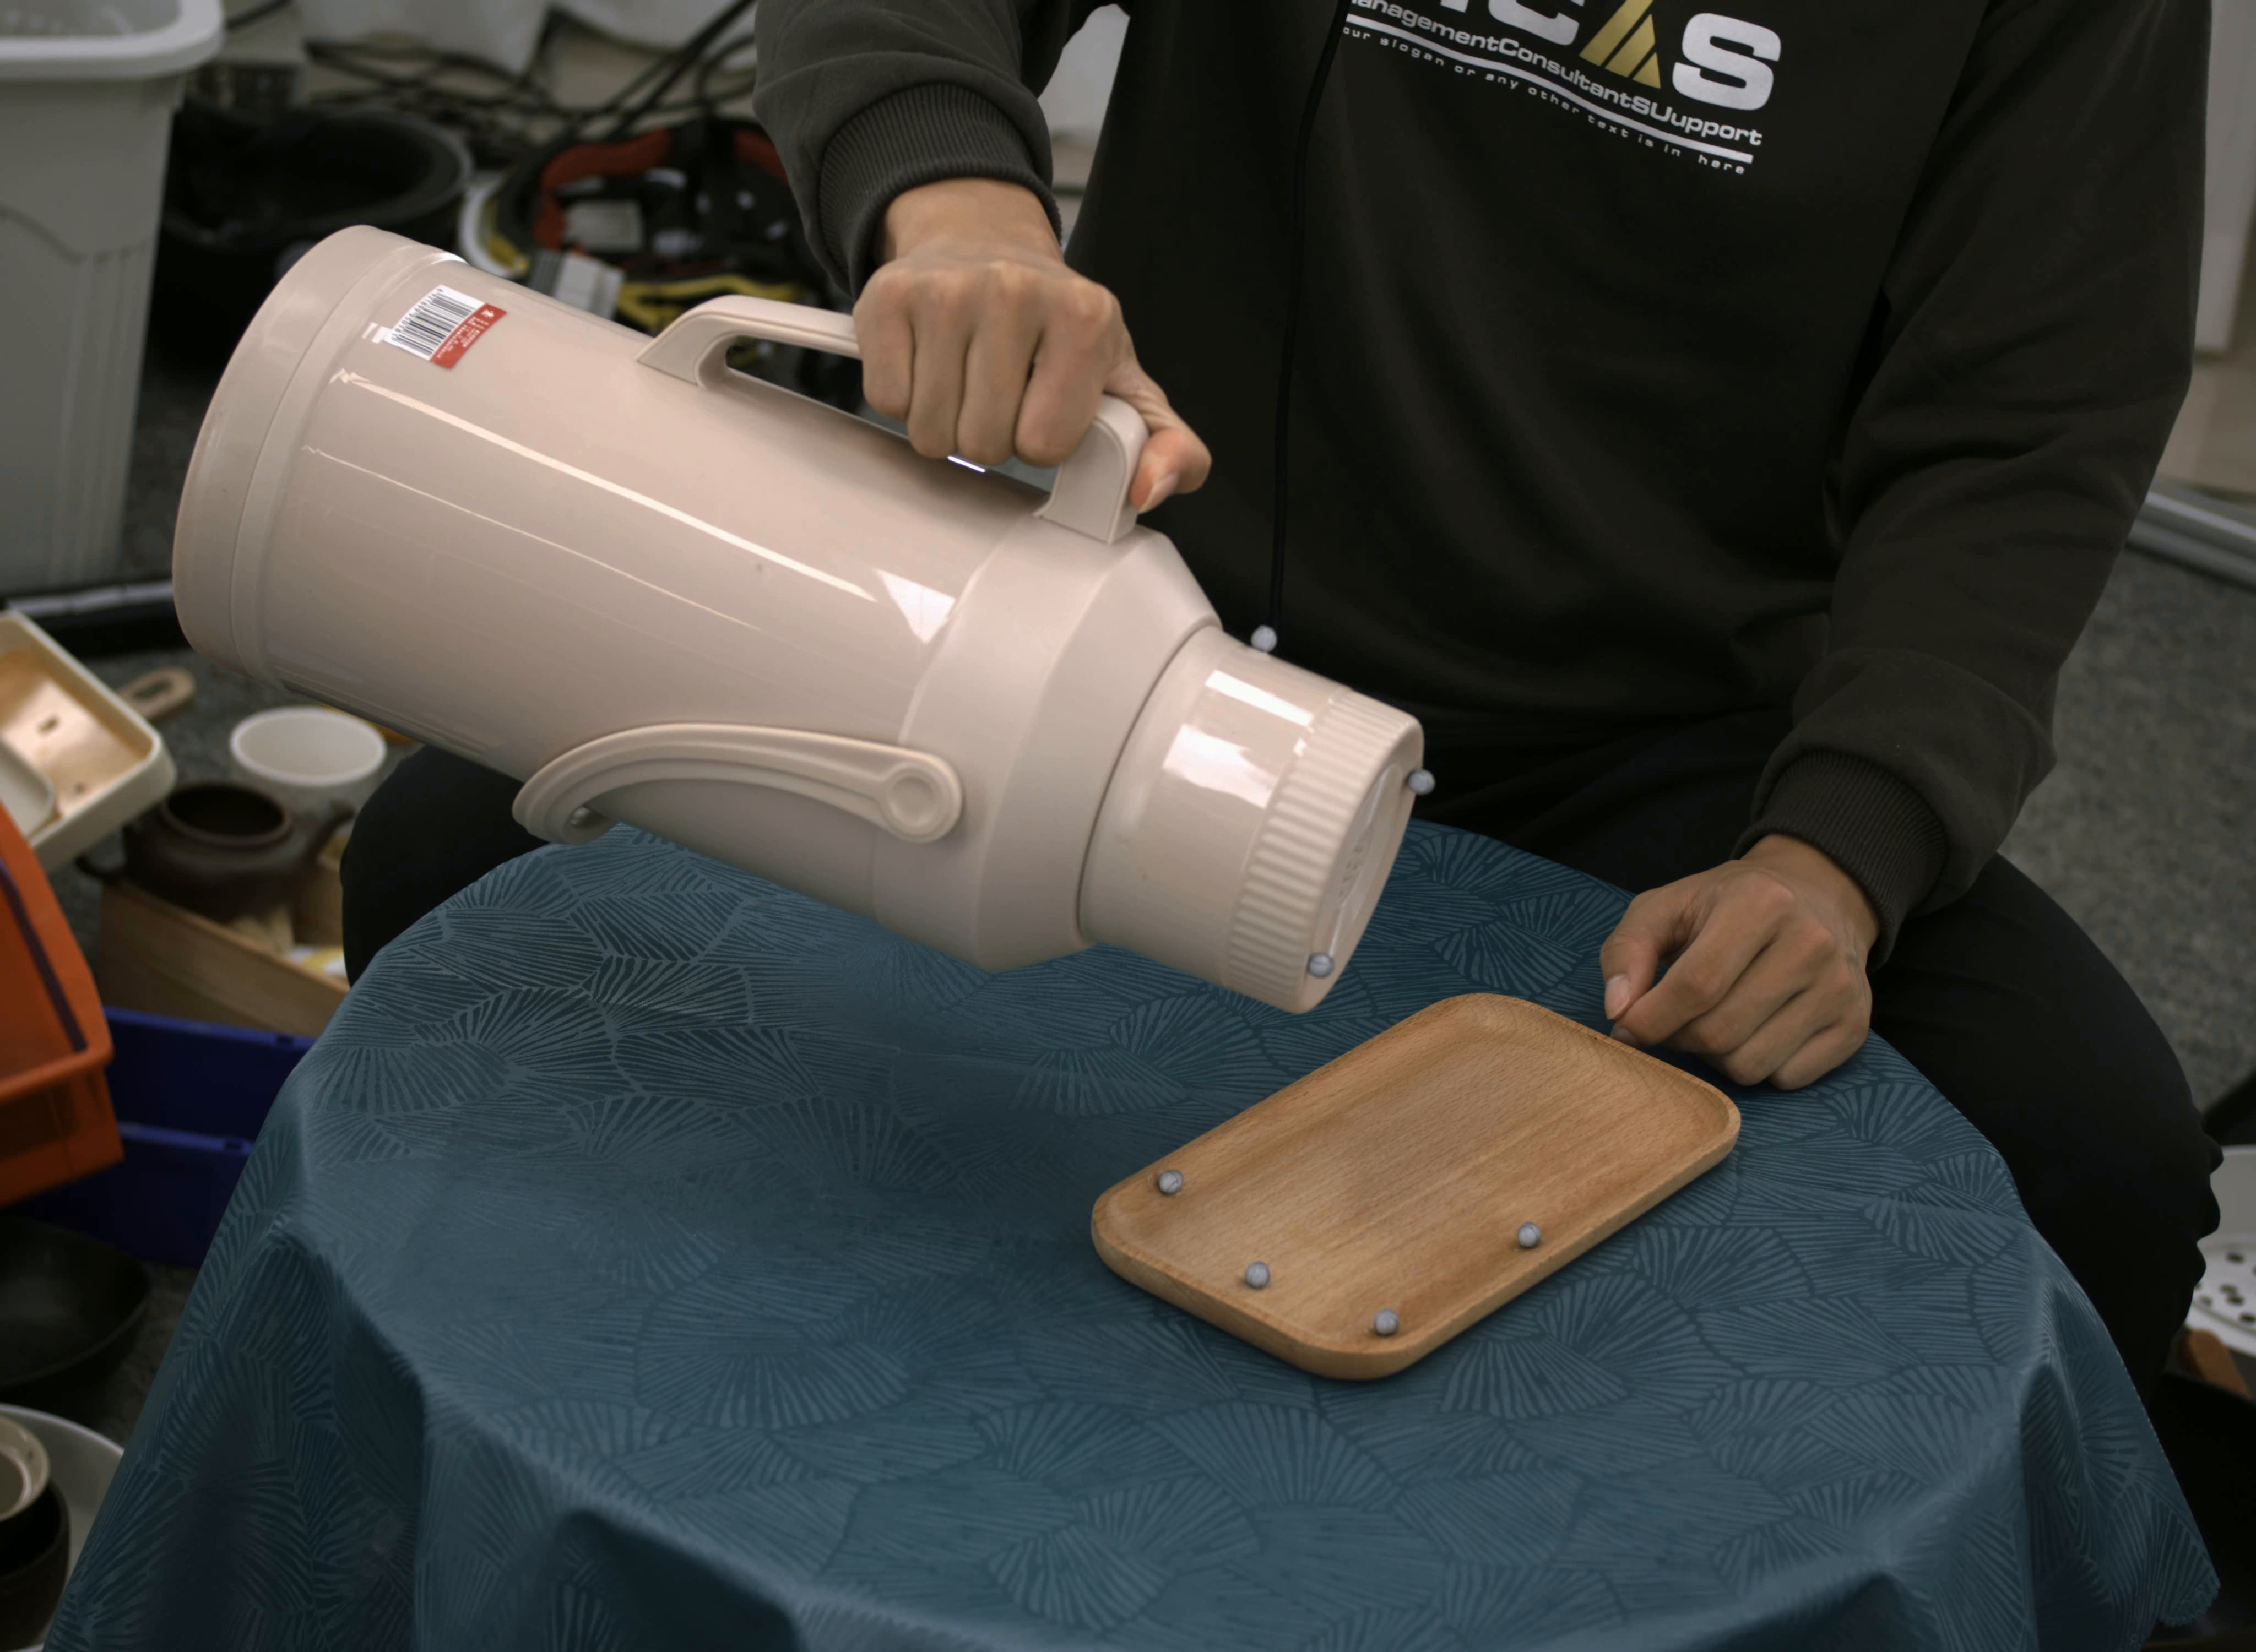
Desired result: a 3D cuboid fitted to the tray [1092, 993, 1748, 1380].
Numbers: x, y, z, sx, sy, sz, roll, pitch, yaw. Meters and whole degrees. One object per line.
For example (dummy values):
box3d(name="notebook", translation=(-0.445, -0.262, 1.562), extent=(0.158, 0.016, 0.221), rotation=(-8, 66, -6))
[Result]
box3d(name="tray", translation=(0.102, 0.121, 1.819), extent=(0.131, 0.023, 0.250), rotation=(27, 32, 30))

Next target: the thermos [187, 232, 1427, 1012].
box3d(name="thermos", translation=(-0.100, -0.072, 1.774), extent=(0.407, 0.206, 0.175), rotation=(22, 23, 15))
